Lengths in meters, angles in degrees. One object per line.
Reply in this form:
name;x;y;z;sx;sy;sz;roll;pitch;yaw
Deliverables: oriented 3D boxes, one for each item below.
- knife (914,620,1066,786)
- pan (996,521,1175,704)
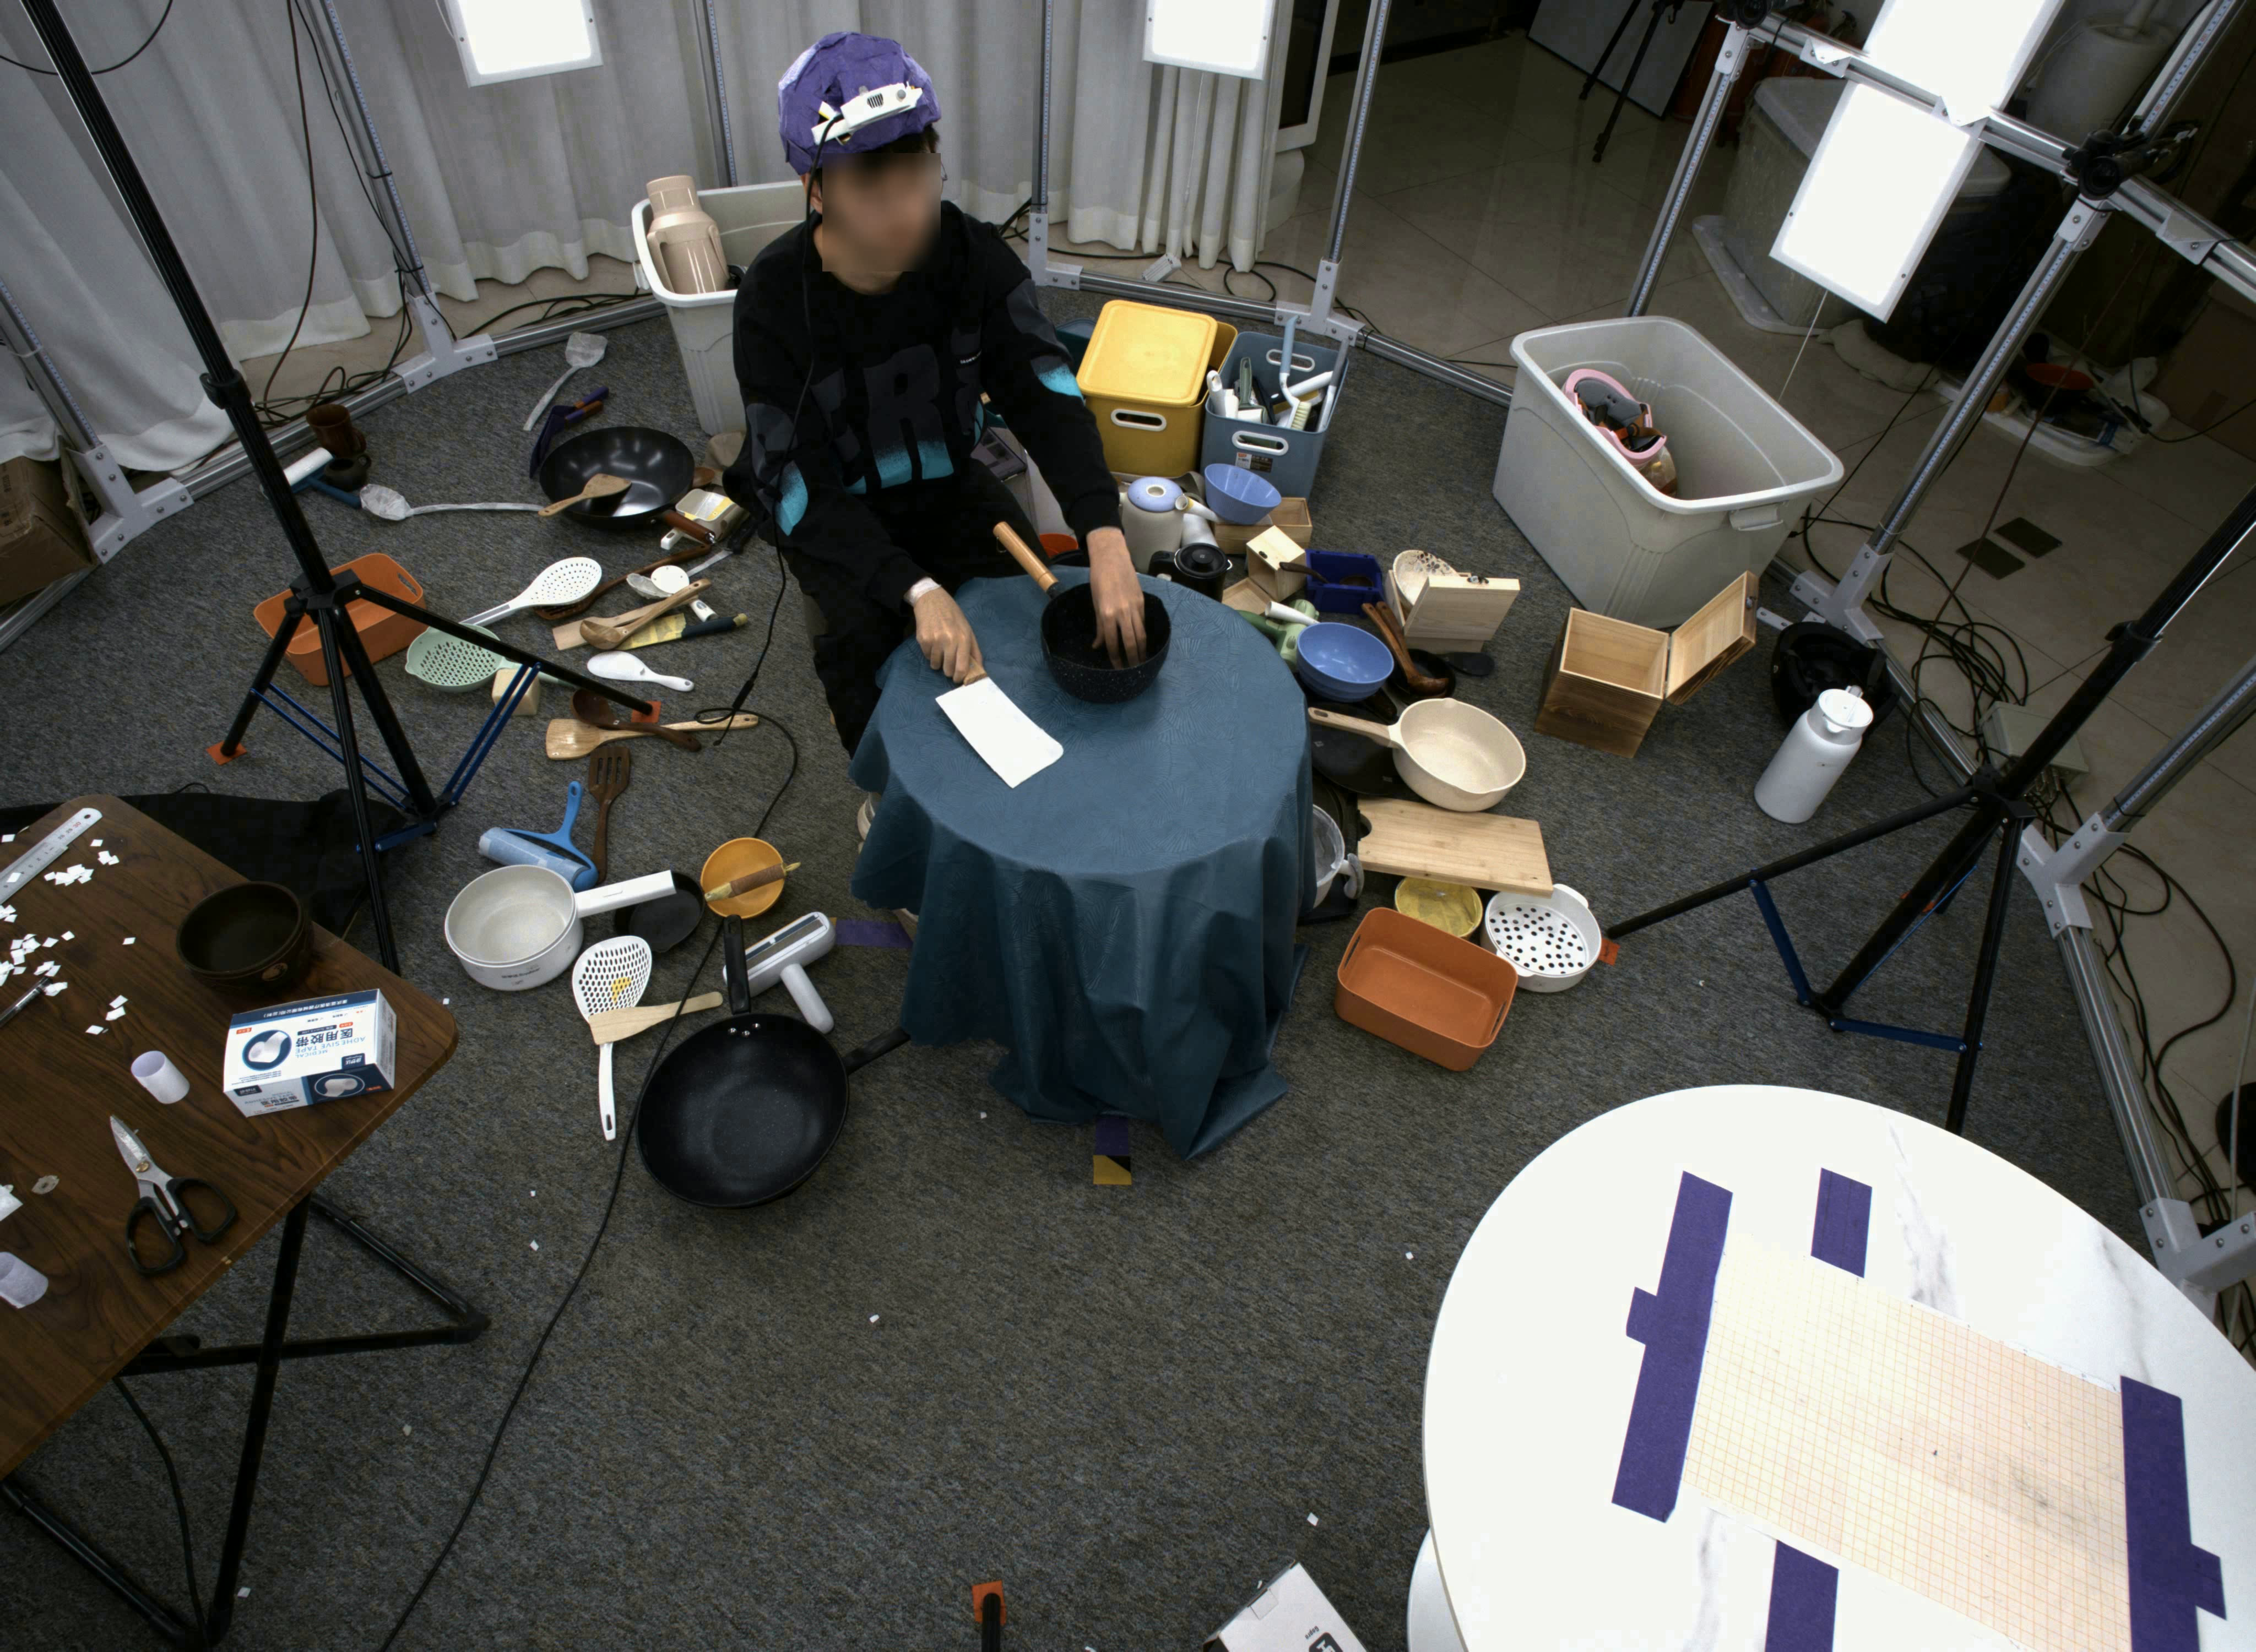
knife;-0.204;-0.179;1.792;0.114;0.021;0.321;-26;60;-24
pan;-0.081;-0.311;1.863;0.209;0.105;0.348;-33;60;-27
